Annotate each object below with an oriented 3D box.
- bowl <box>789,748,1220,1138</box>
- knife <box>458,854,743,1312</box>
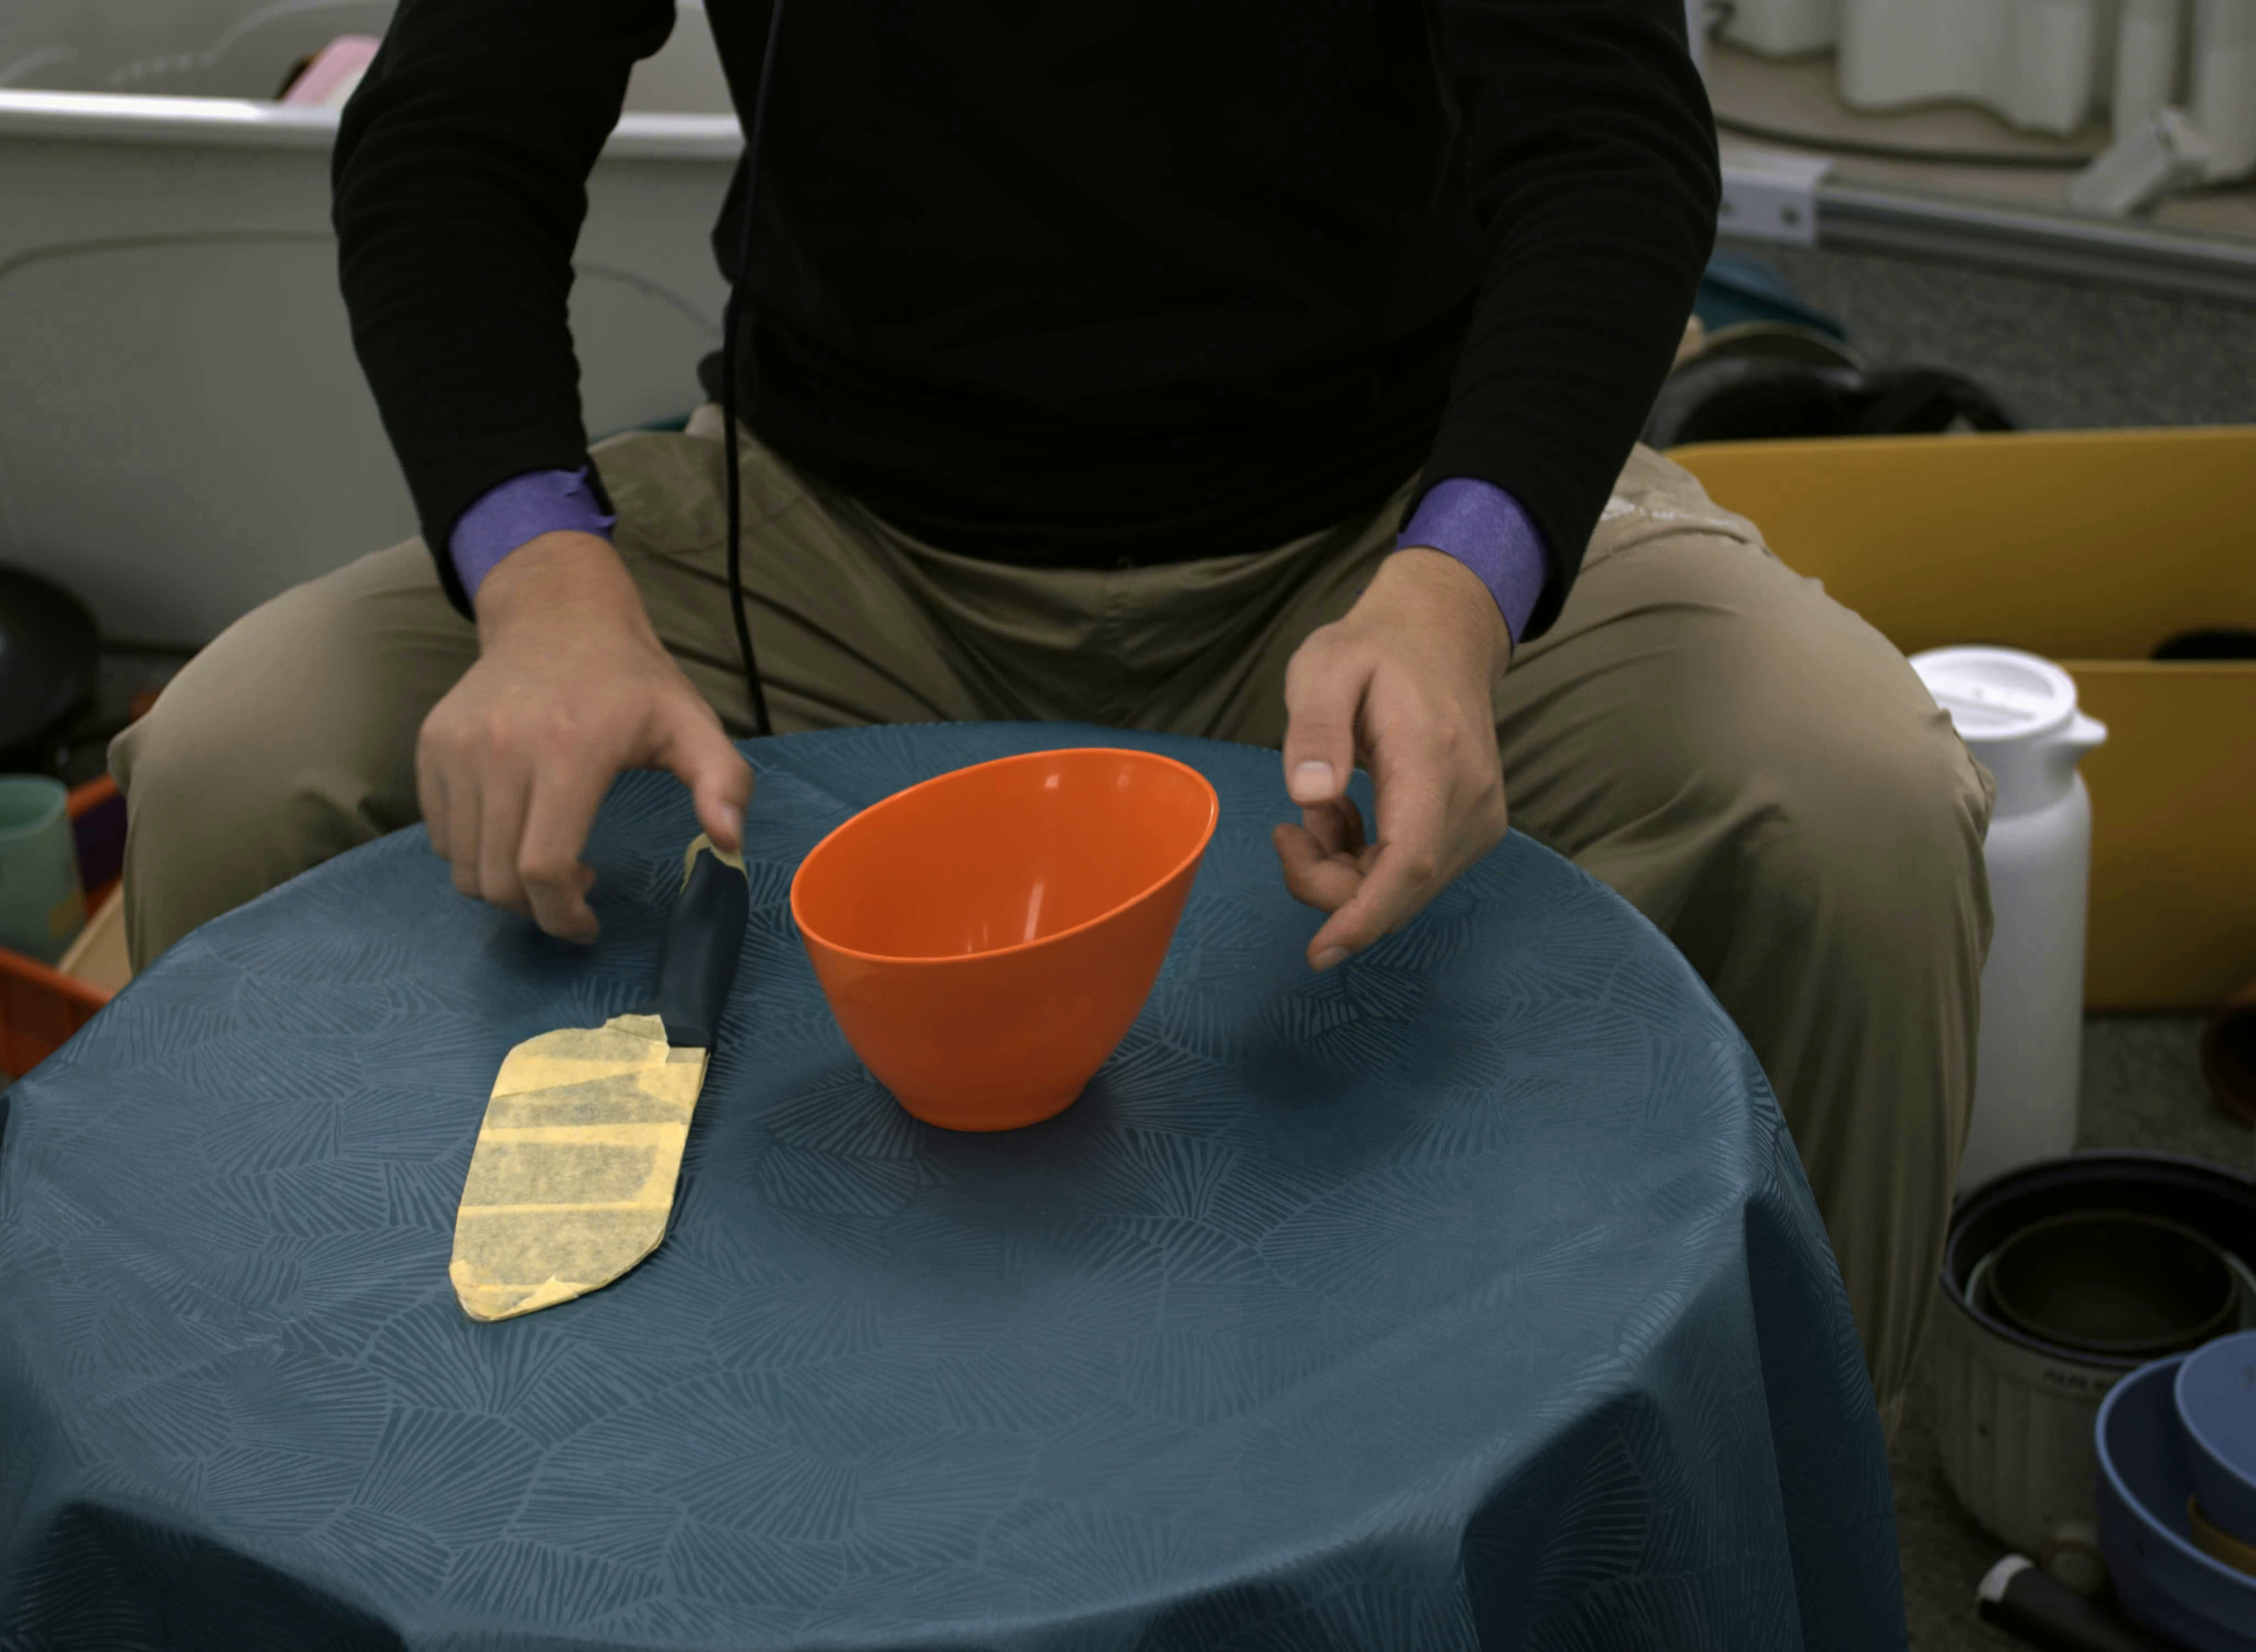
[{"bbox_3d":[-0.039,0.046,1.901,0.147,0.103,0.150,-3,28,2],"label":"bowl"},{"bbox_3d":[-0.178,0.087,1.929,0.080,0.027,0.294,2,29,7],"label":"knife"}]
